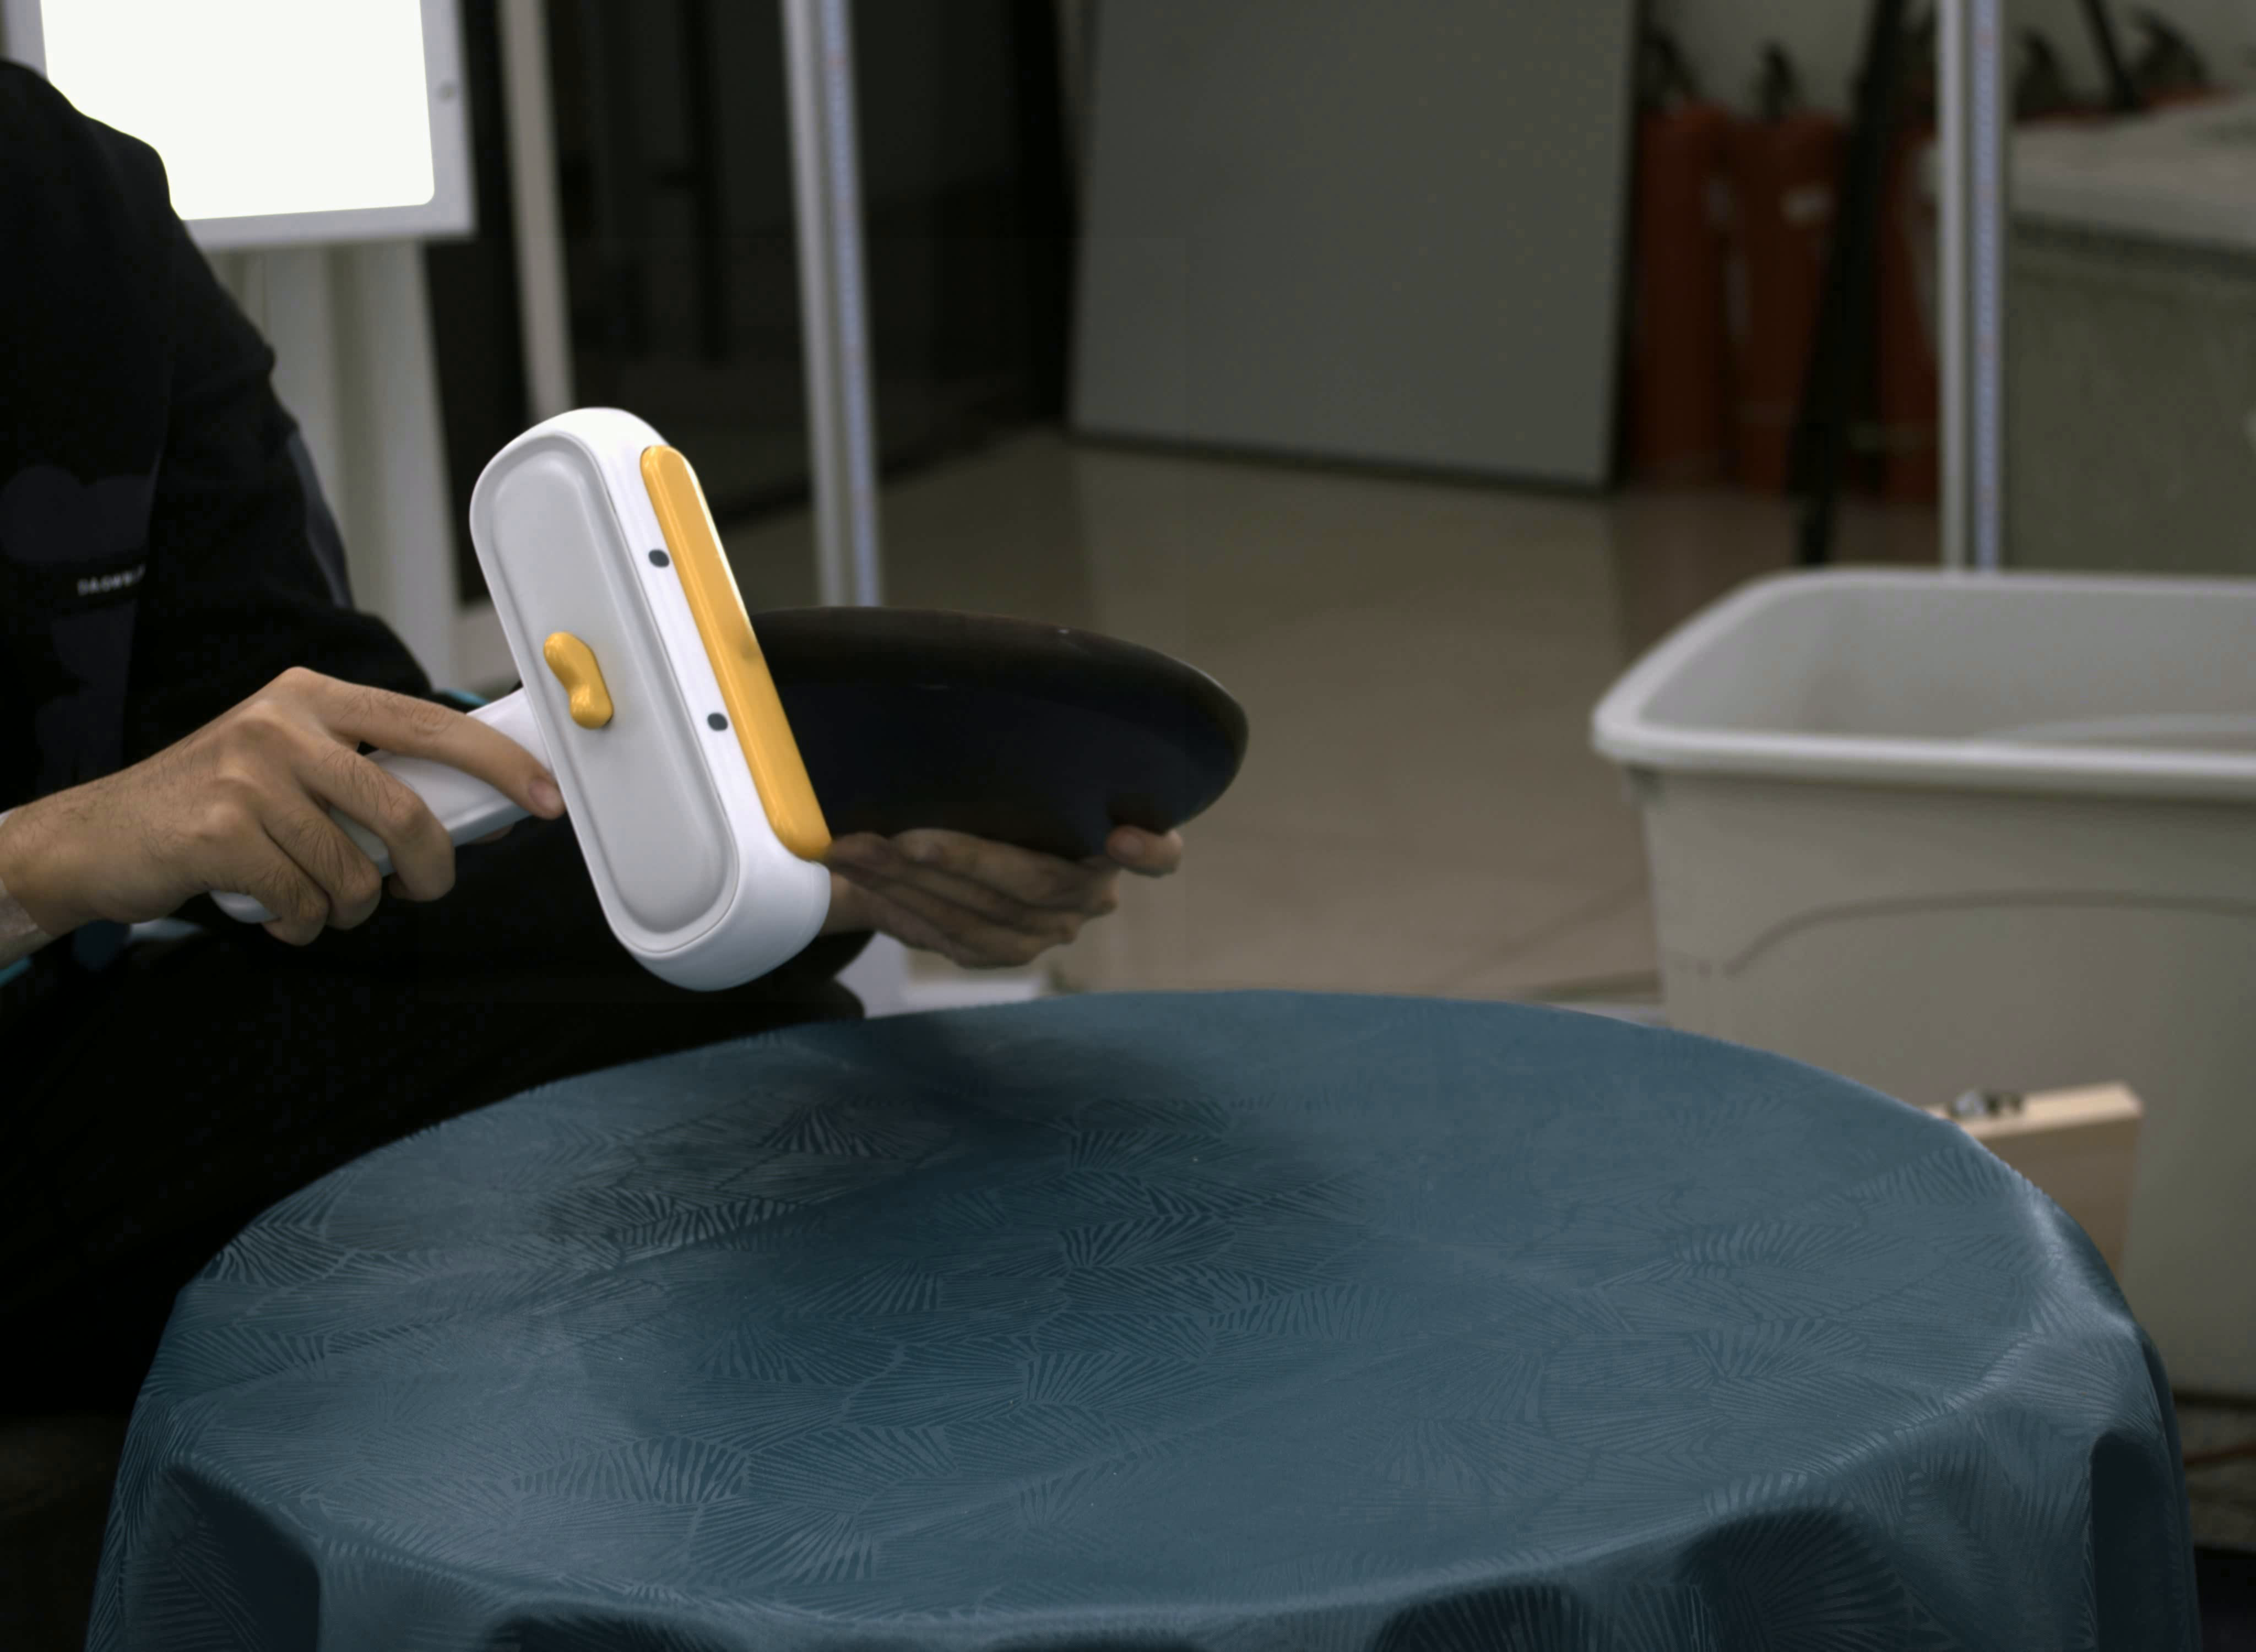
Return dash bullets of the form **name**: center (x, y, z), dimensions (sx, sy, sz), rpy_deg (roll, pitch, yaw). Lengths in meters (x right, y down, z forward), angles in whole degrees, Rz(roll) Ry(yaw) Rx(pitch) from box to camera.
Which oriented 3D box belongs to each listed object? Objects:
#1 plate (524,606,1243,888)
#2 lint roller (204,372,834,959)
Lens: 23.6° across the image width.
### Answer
- **plate**: center (-0.086, -0.024, 1.819), dimensions (0.251, 0.029, 0.255), rpy_deg (0, -19, -1)
- **lint roller**: center (-0.202, -0.022, 1.703), dimensions (0.193, 0.195, 0.073), rpy_deg (-32, -15, 18)
